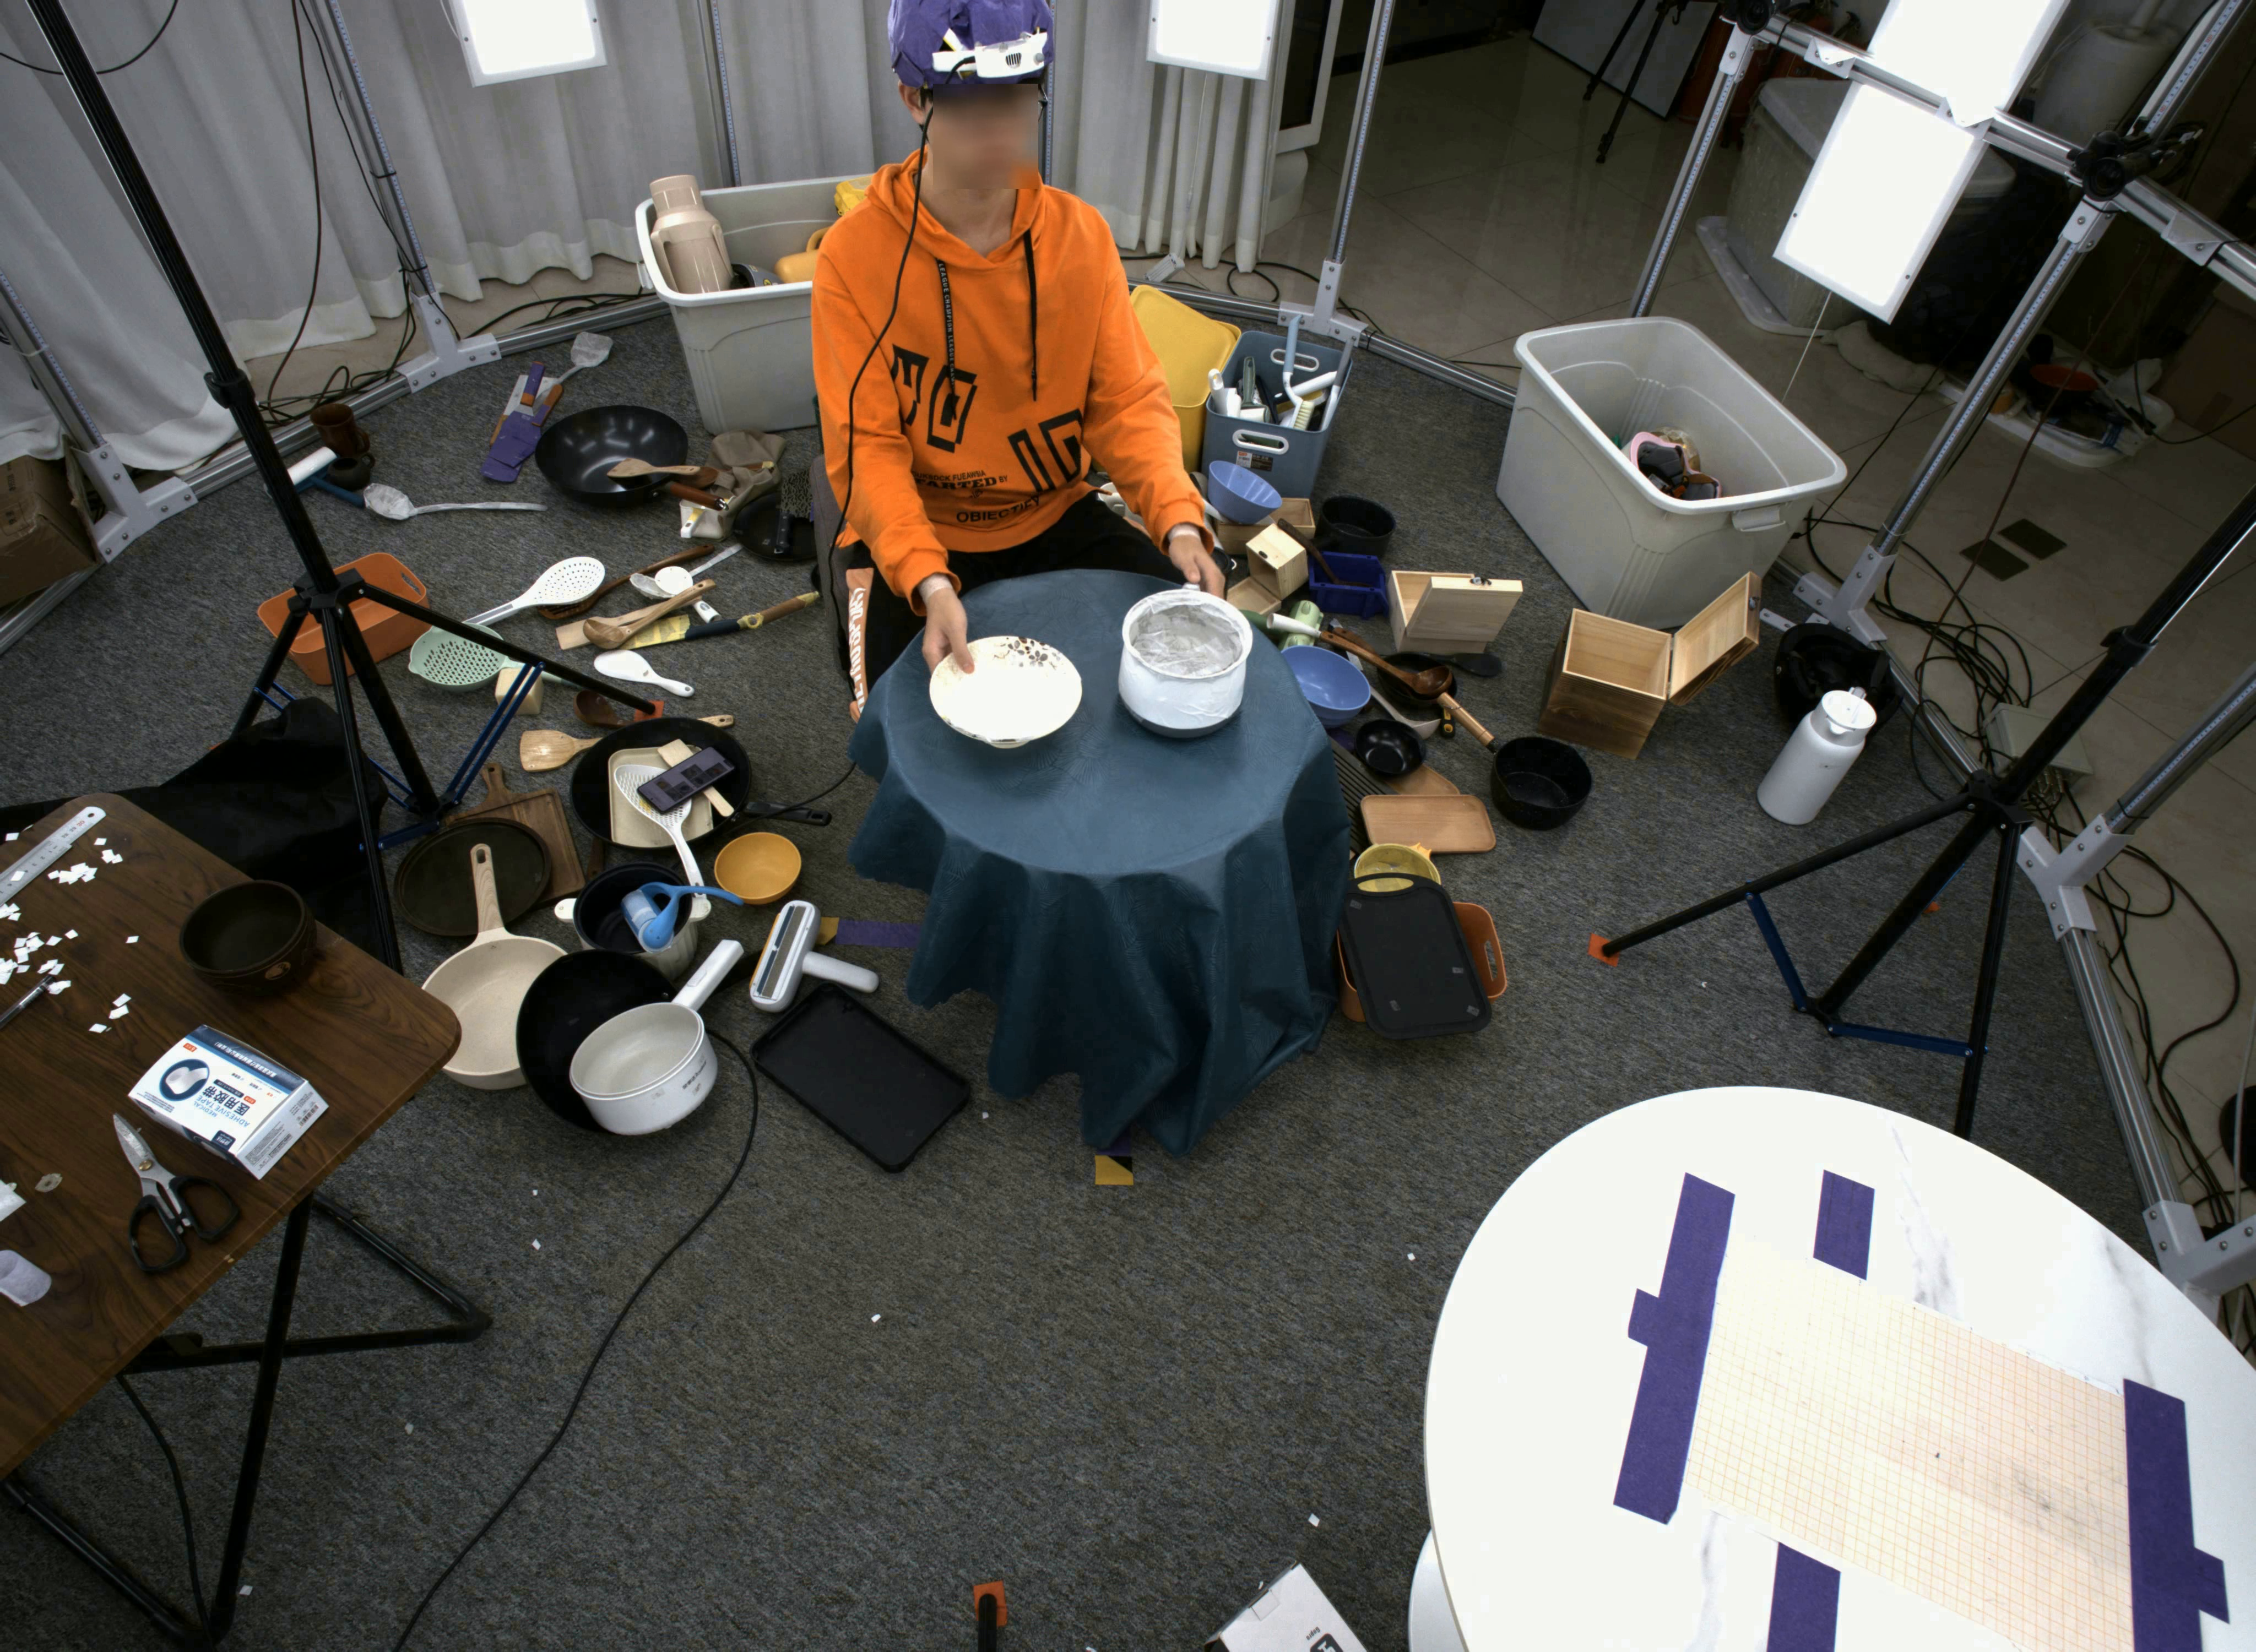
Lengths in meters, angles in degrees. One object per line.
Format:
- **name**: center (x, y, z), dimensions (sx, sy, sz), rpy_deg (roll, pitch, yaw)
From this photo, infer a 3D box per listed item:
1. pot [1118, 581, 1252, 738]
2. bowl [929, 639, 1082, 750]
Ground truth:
- **pot**: center (0.078, -0.242, 1.796), dimensions (0.178, 0.133, 0.239), rpy_deg (5, 49, 0)
- **bowl**: center (-0.166, -0.161, 1.749), dimensions (0.204, 0.076, 0.209), rpy_deg (1, 47, -2)
